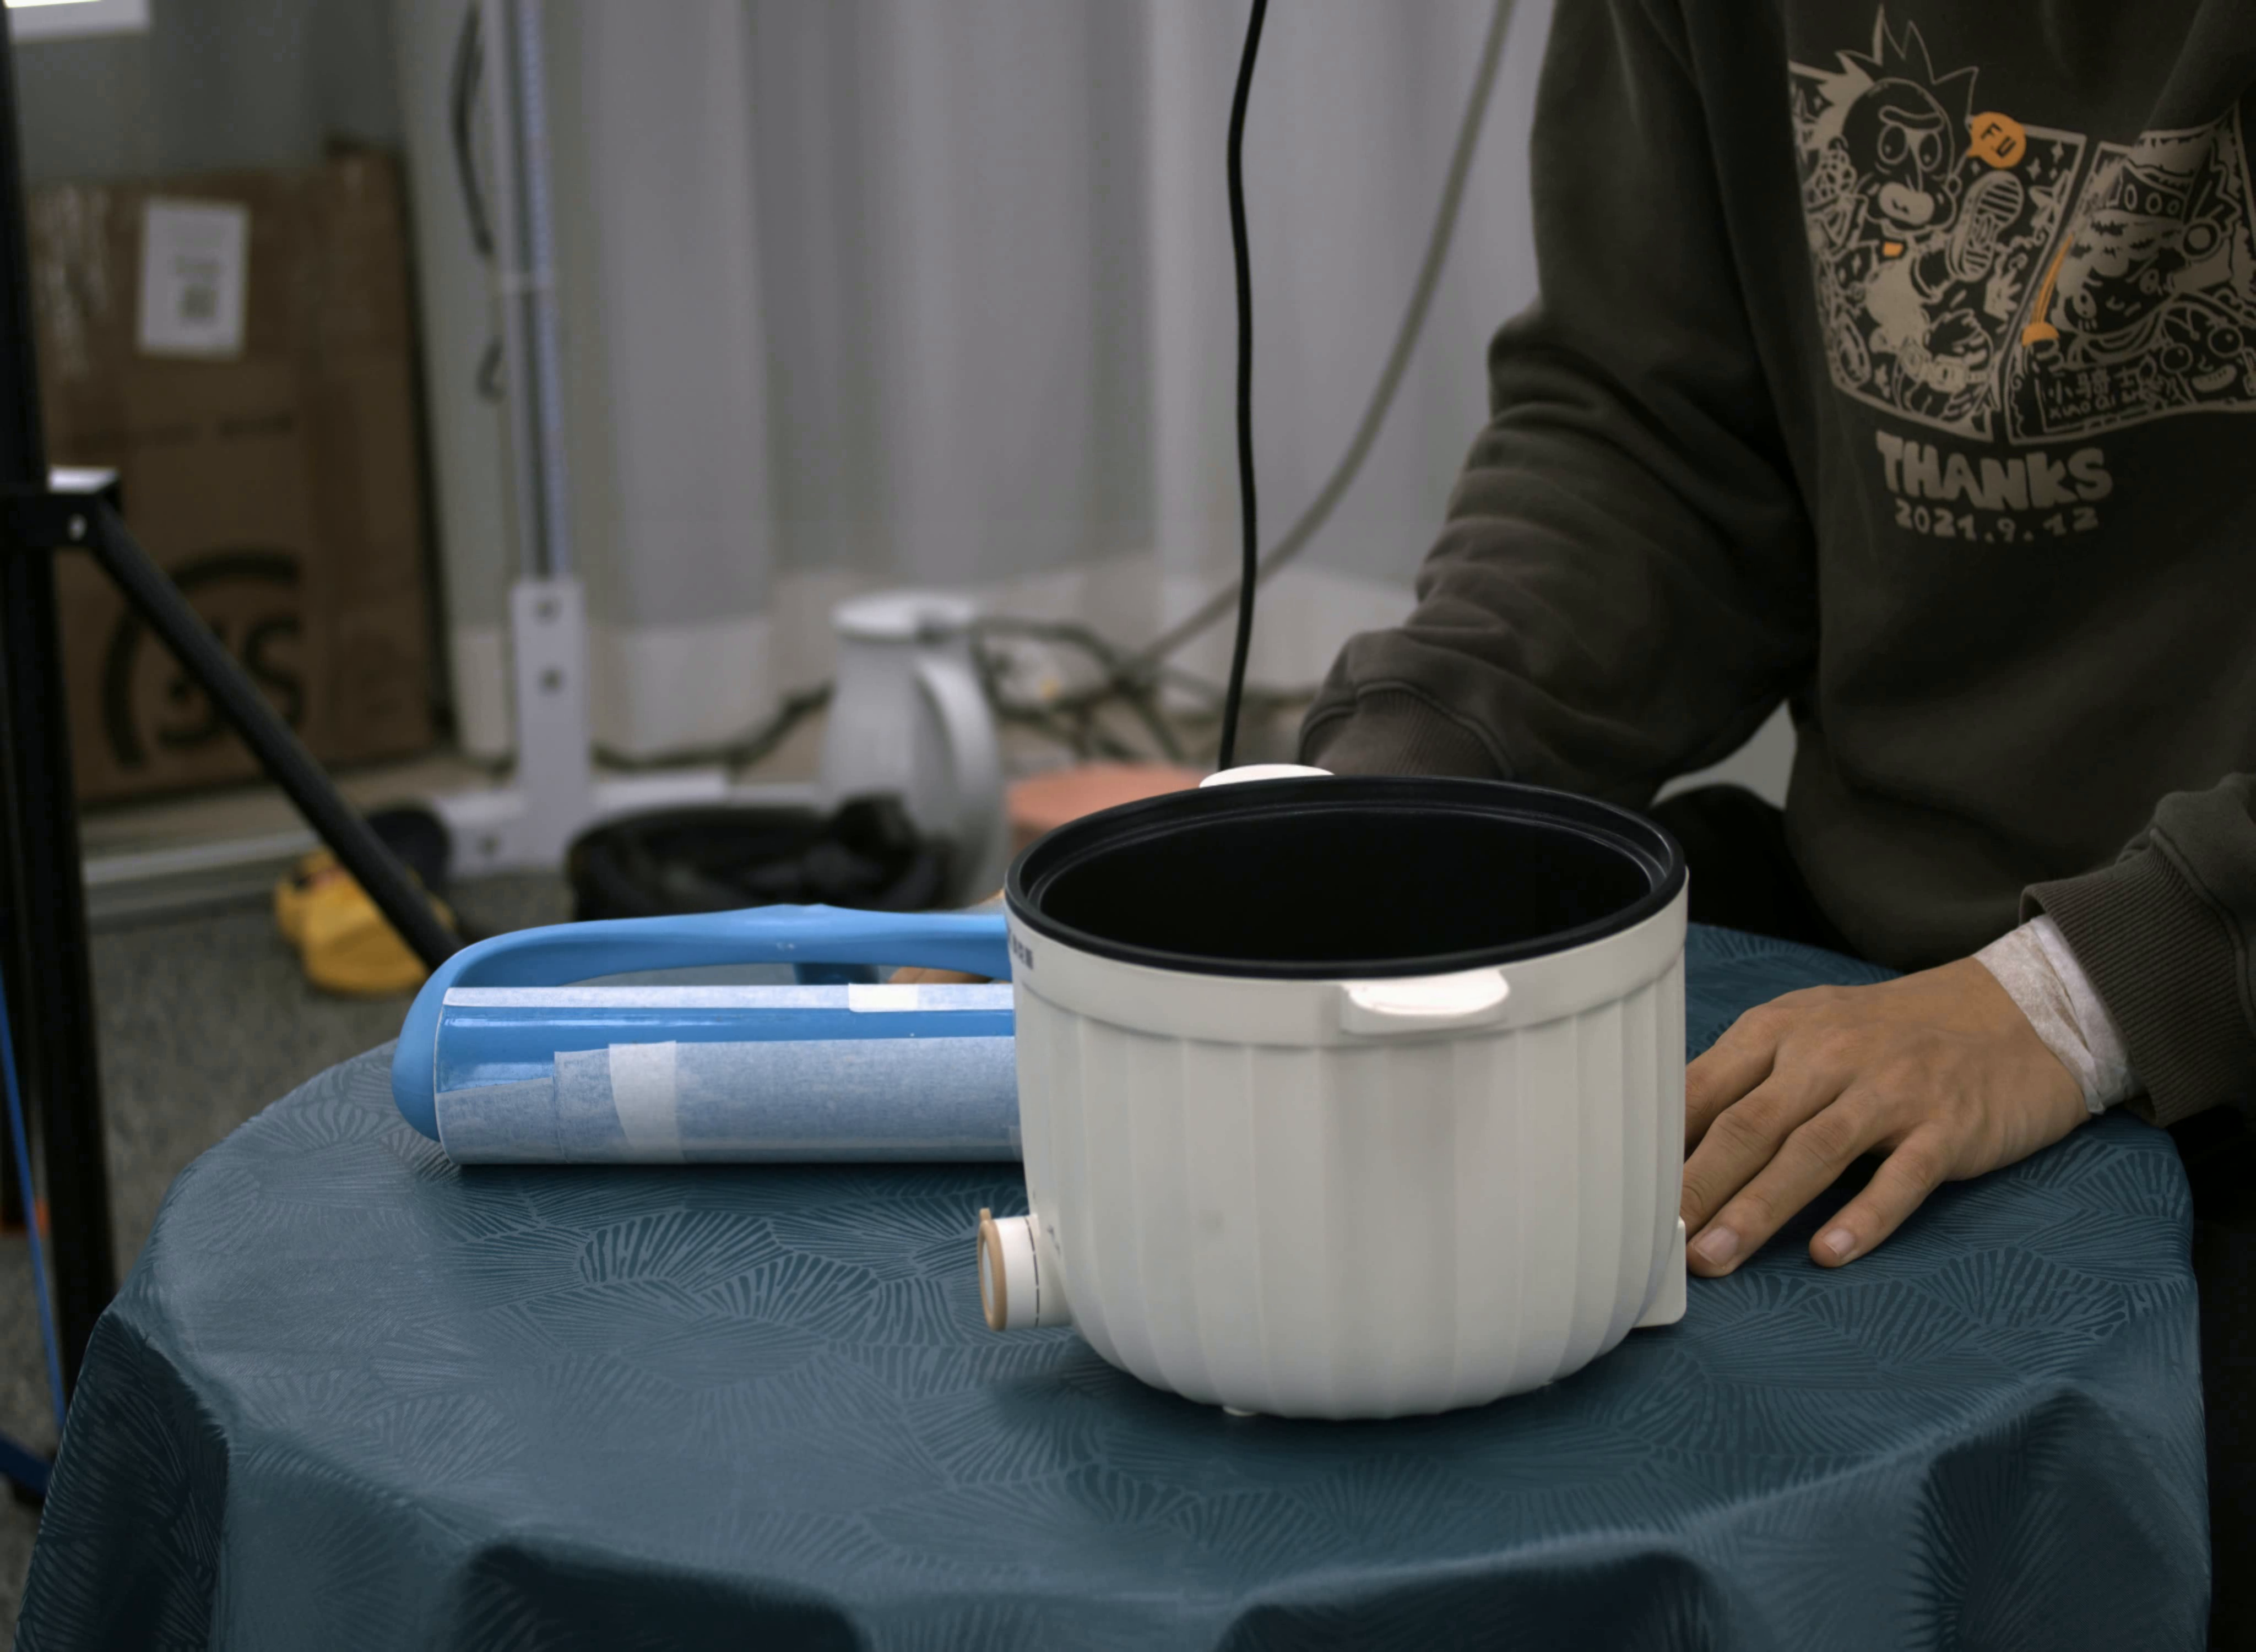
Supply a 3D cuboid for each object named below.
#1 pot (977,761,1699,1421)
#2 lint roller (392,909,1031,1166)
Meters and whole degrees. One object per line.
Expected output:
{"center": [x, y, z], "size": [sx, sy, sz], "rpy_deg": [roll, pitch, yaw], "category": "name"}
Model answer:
{"center": [0.055, 0.074, 1.417], "size": [0.188, 0.143, 0.243], "rpy_deg": [-2, 14, -10], "category": "pot"}
{"center": [-0.106, 0.056, 1.658], "size": [0.229, 0.068, 0.180], "rpy_deg": [-3, 17, 5], "category": "lint roller"}
